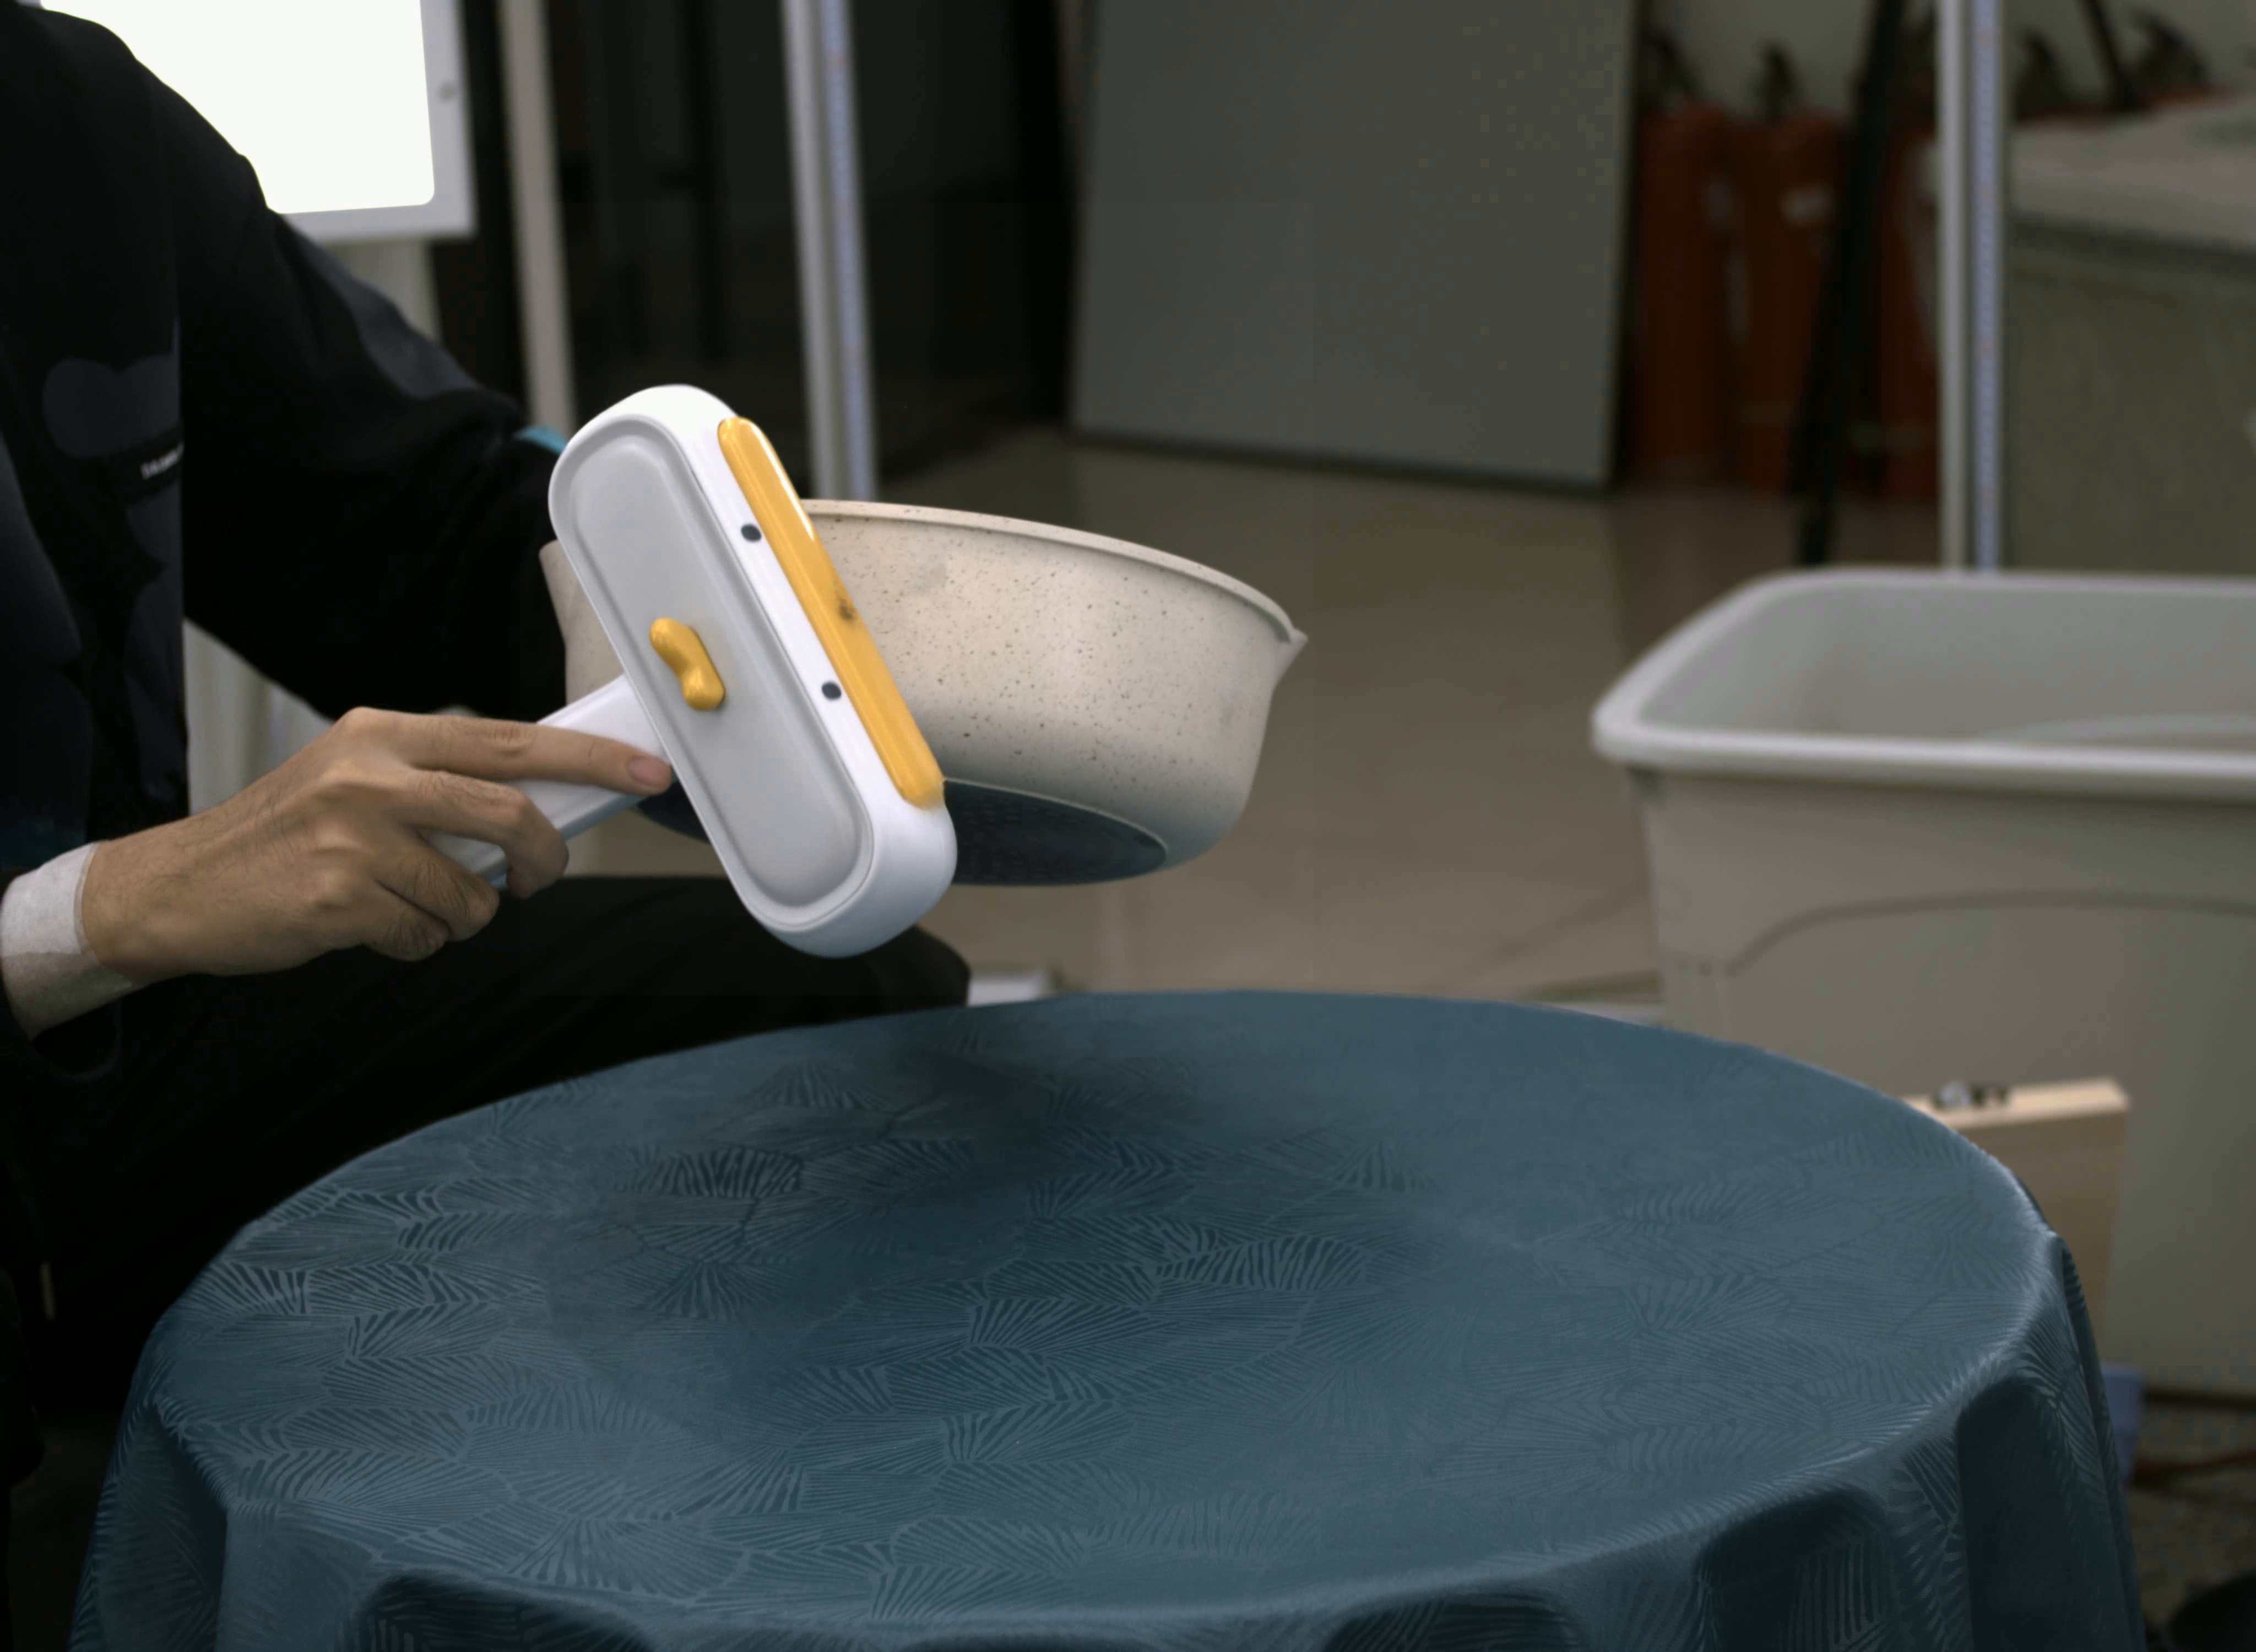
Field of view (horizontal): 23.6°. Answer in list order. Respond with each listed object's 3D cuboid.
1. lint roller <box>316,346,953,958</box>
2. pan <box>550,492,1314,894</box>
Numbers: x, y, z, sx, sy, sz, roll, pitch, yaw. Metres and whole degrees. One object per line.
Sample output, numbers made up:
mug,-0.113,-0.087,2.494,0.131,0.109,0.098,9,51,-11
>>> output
lint roller,-0.169,-0.026,1.701,0.193,0.194,0.073,-36,-11,16
pan,-0.072,-0.026,1.914,0.260,0.103,0.435,4,-12,-2
